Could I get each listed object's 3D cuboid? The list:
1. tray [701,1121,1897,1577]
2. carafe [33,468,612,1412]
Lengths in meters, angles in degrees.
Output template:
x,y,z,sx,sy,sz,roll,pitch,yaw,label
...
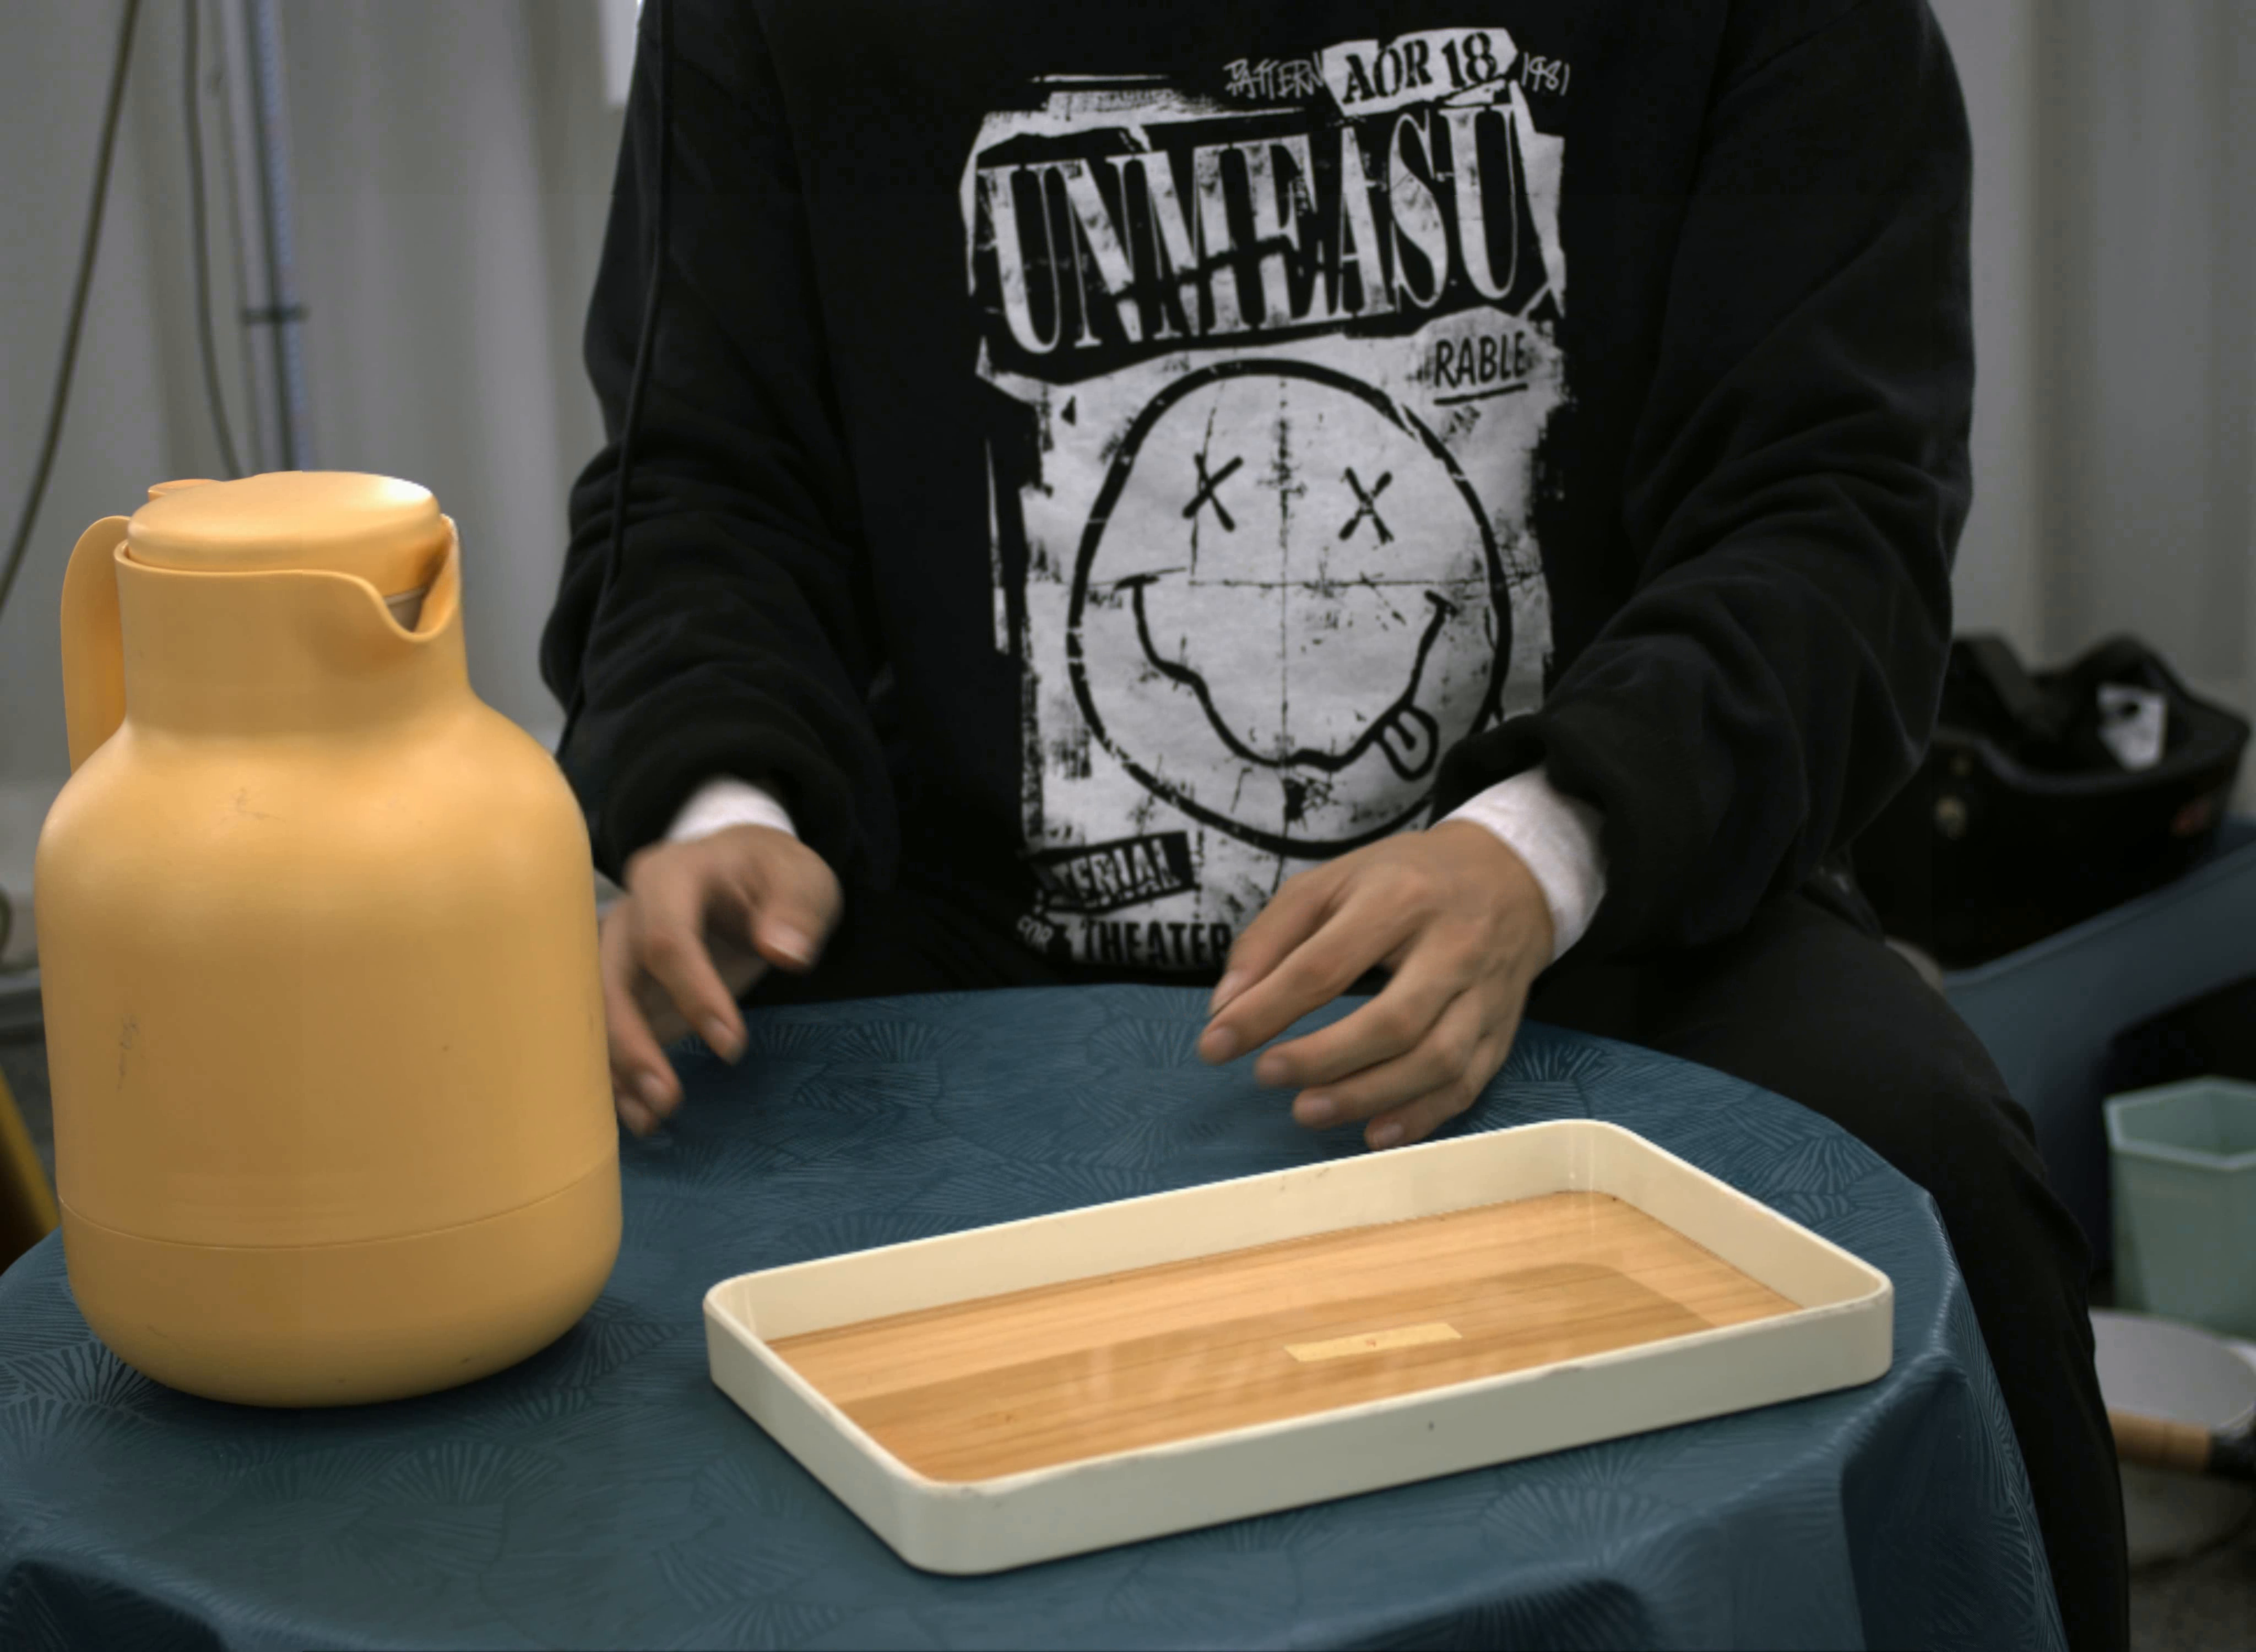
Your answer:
x,y,z,sx,sy,sz,roll,pitch,yaw,label
0.046,0.144,1.546,0.299,0.027,0.193,-9,16,-22,tray
-0.245,0.025,1.600,0.163,0.259,0.204,-10,16,-35,carafe
